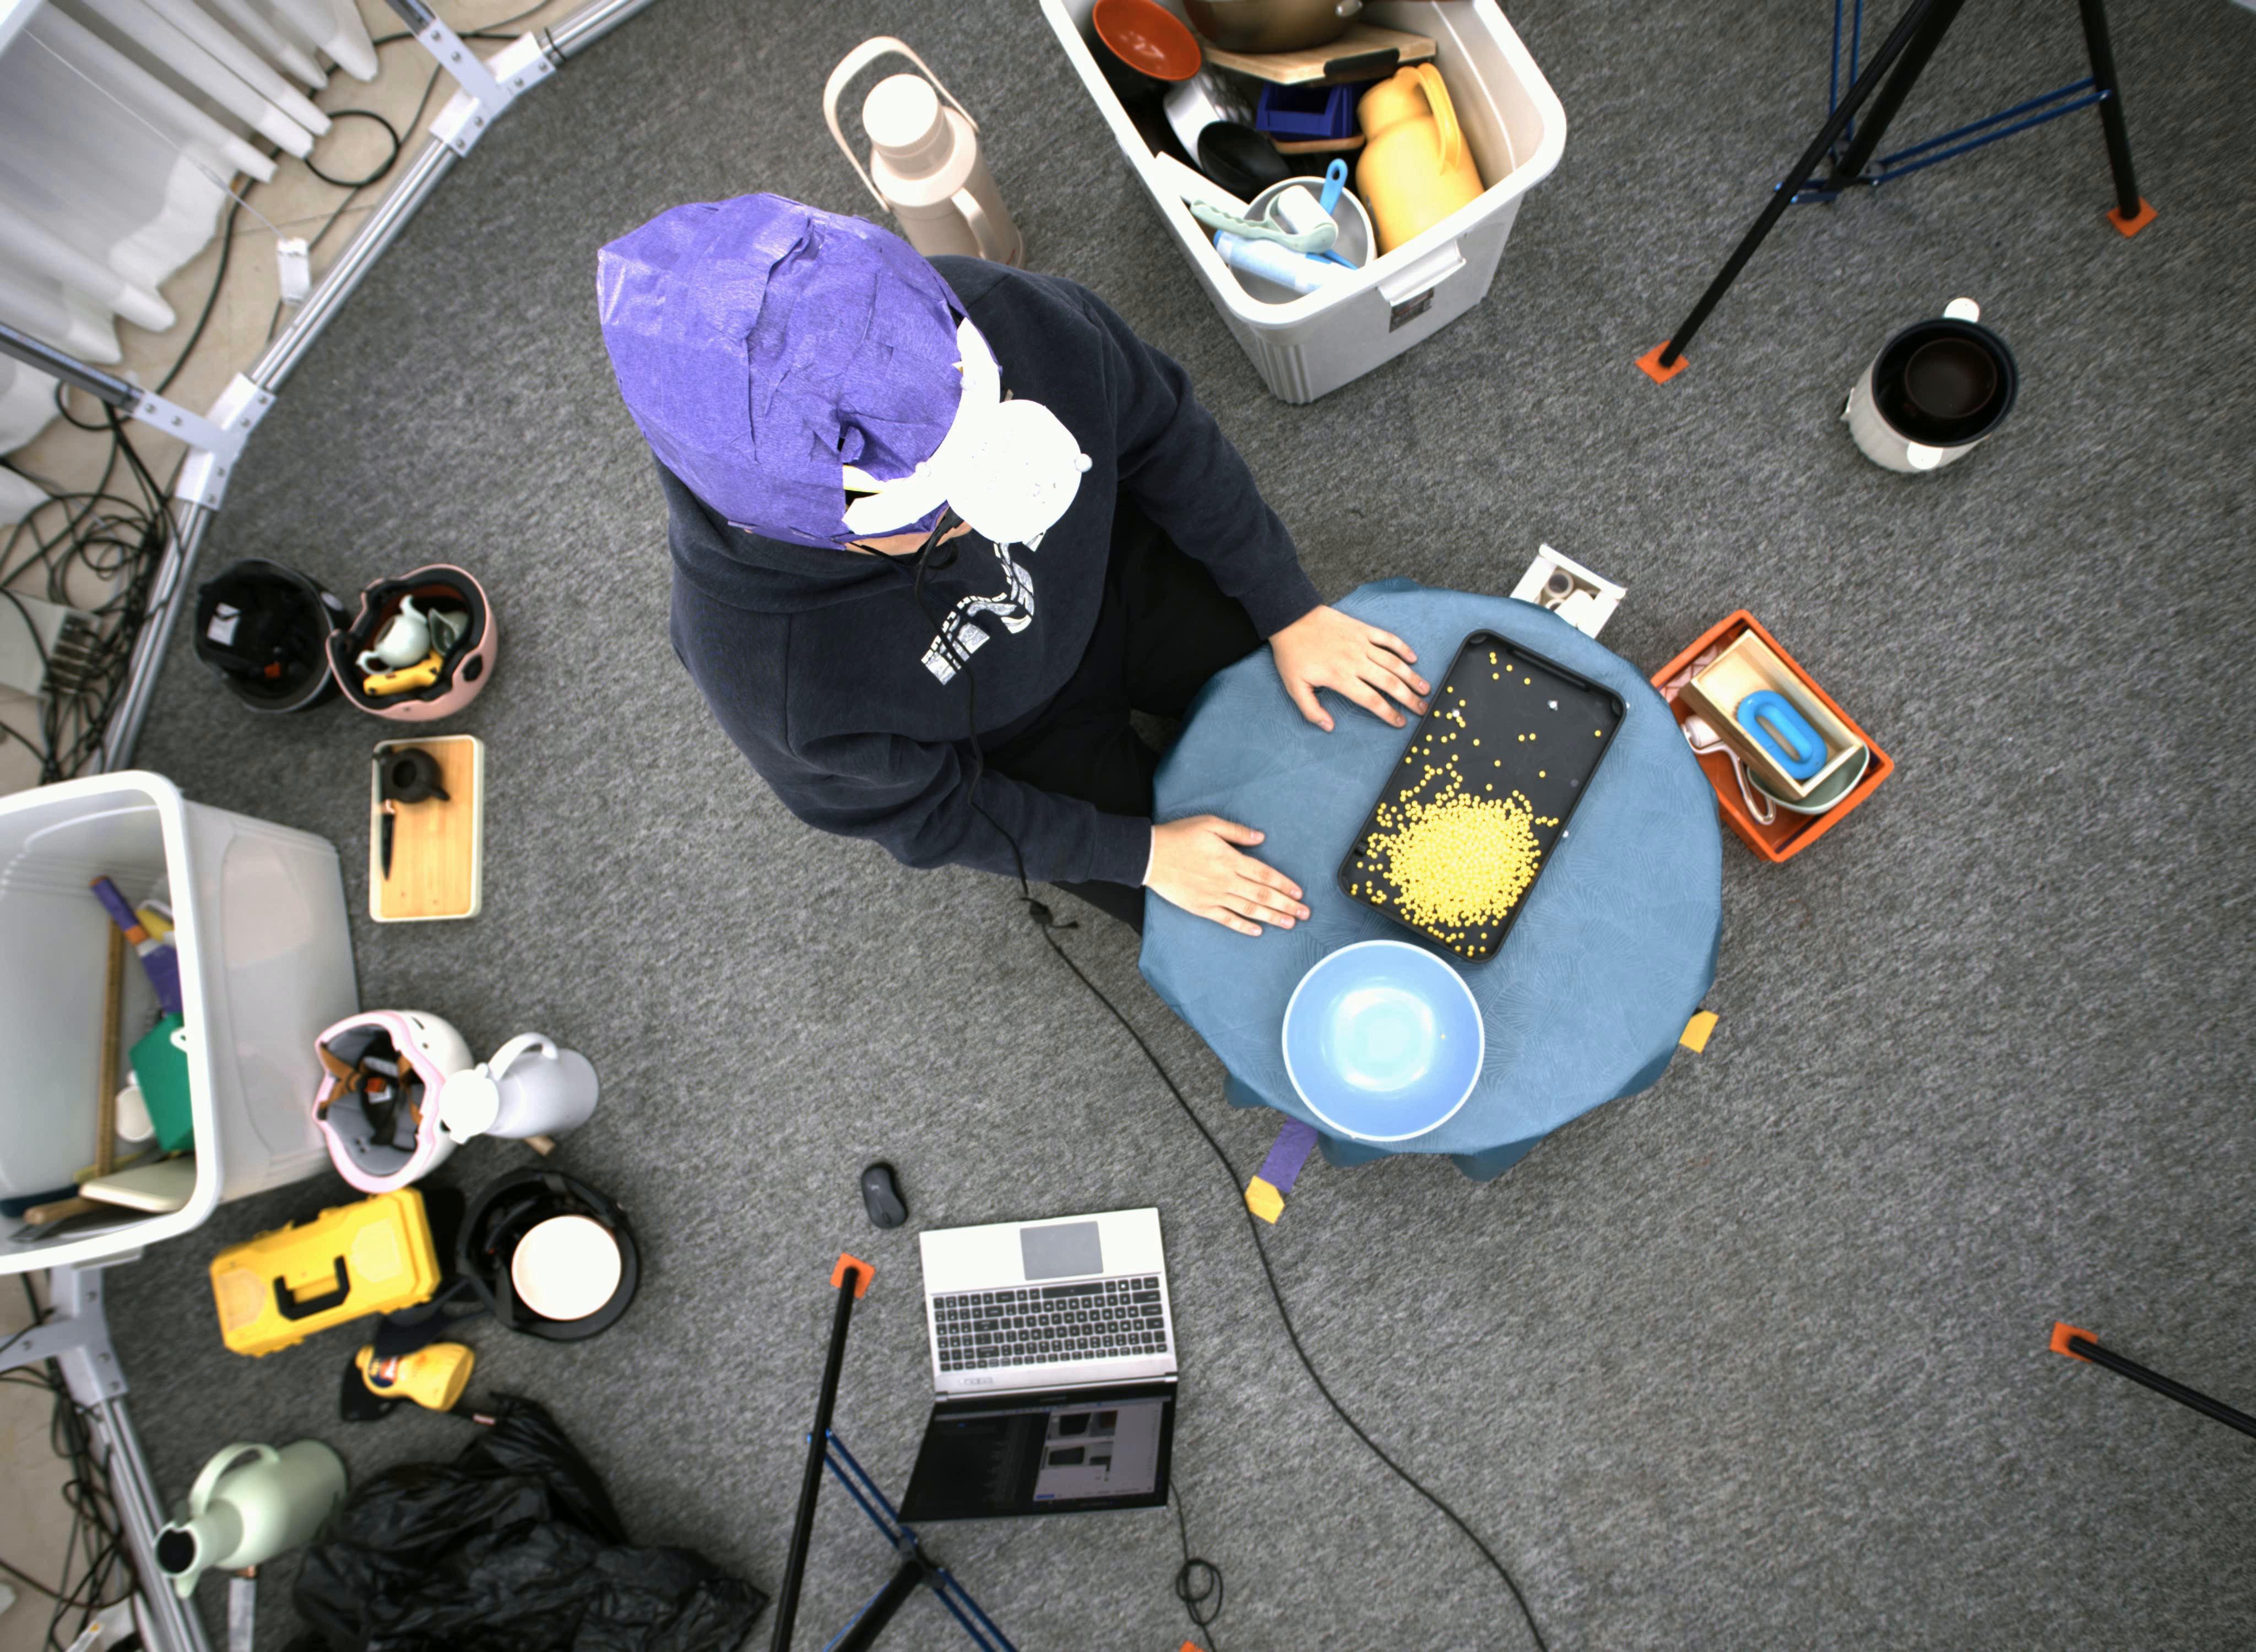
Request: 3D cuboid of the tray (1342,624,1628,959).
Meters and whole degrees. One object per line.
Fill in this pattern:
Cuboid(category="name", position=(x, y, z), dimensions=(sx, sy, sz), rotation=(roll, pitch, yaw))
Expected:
Cuboid(category="tray", position=(0.370, -0.038, 1.431), dimensions=(0.184, 0.037, 0.318), rotation=(27, 93, 12))

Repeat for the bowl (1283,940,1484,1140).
Cuboid(category="bowl", position=(0.258, 0.213, 1.405), dimensions=(0.197, 0.095, 0.196), rotation=(-1, 87, 11))
